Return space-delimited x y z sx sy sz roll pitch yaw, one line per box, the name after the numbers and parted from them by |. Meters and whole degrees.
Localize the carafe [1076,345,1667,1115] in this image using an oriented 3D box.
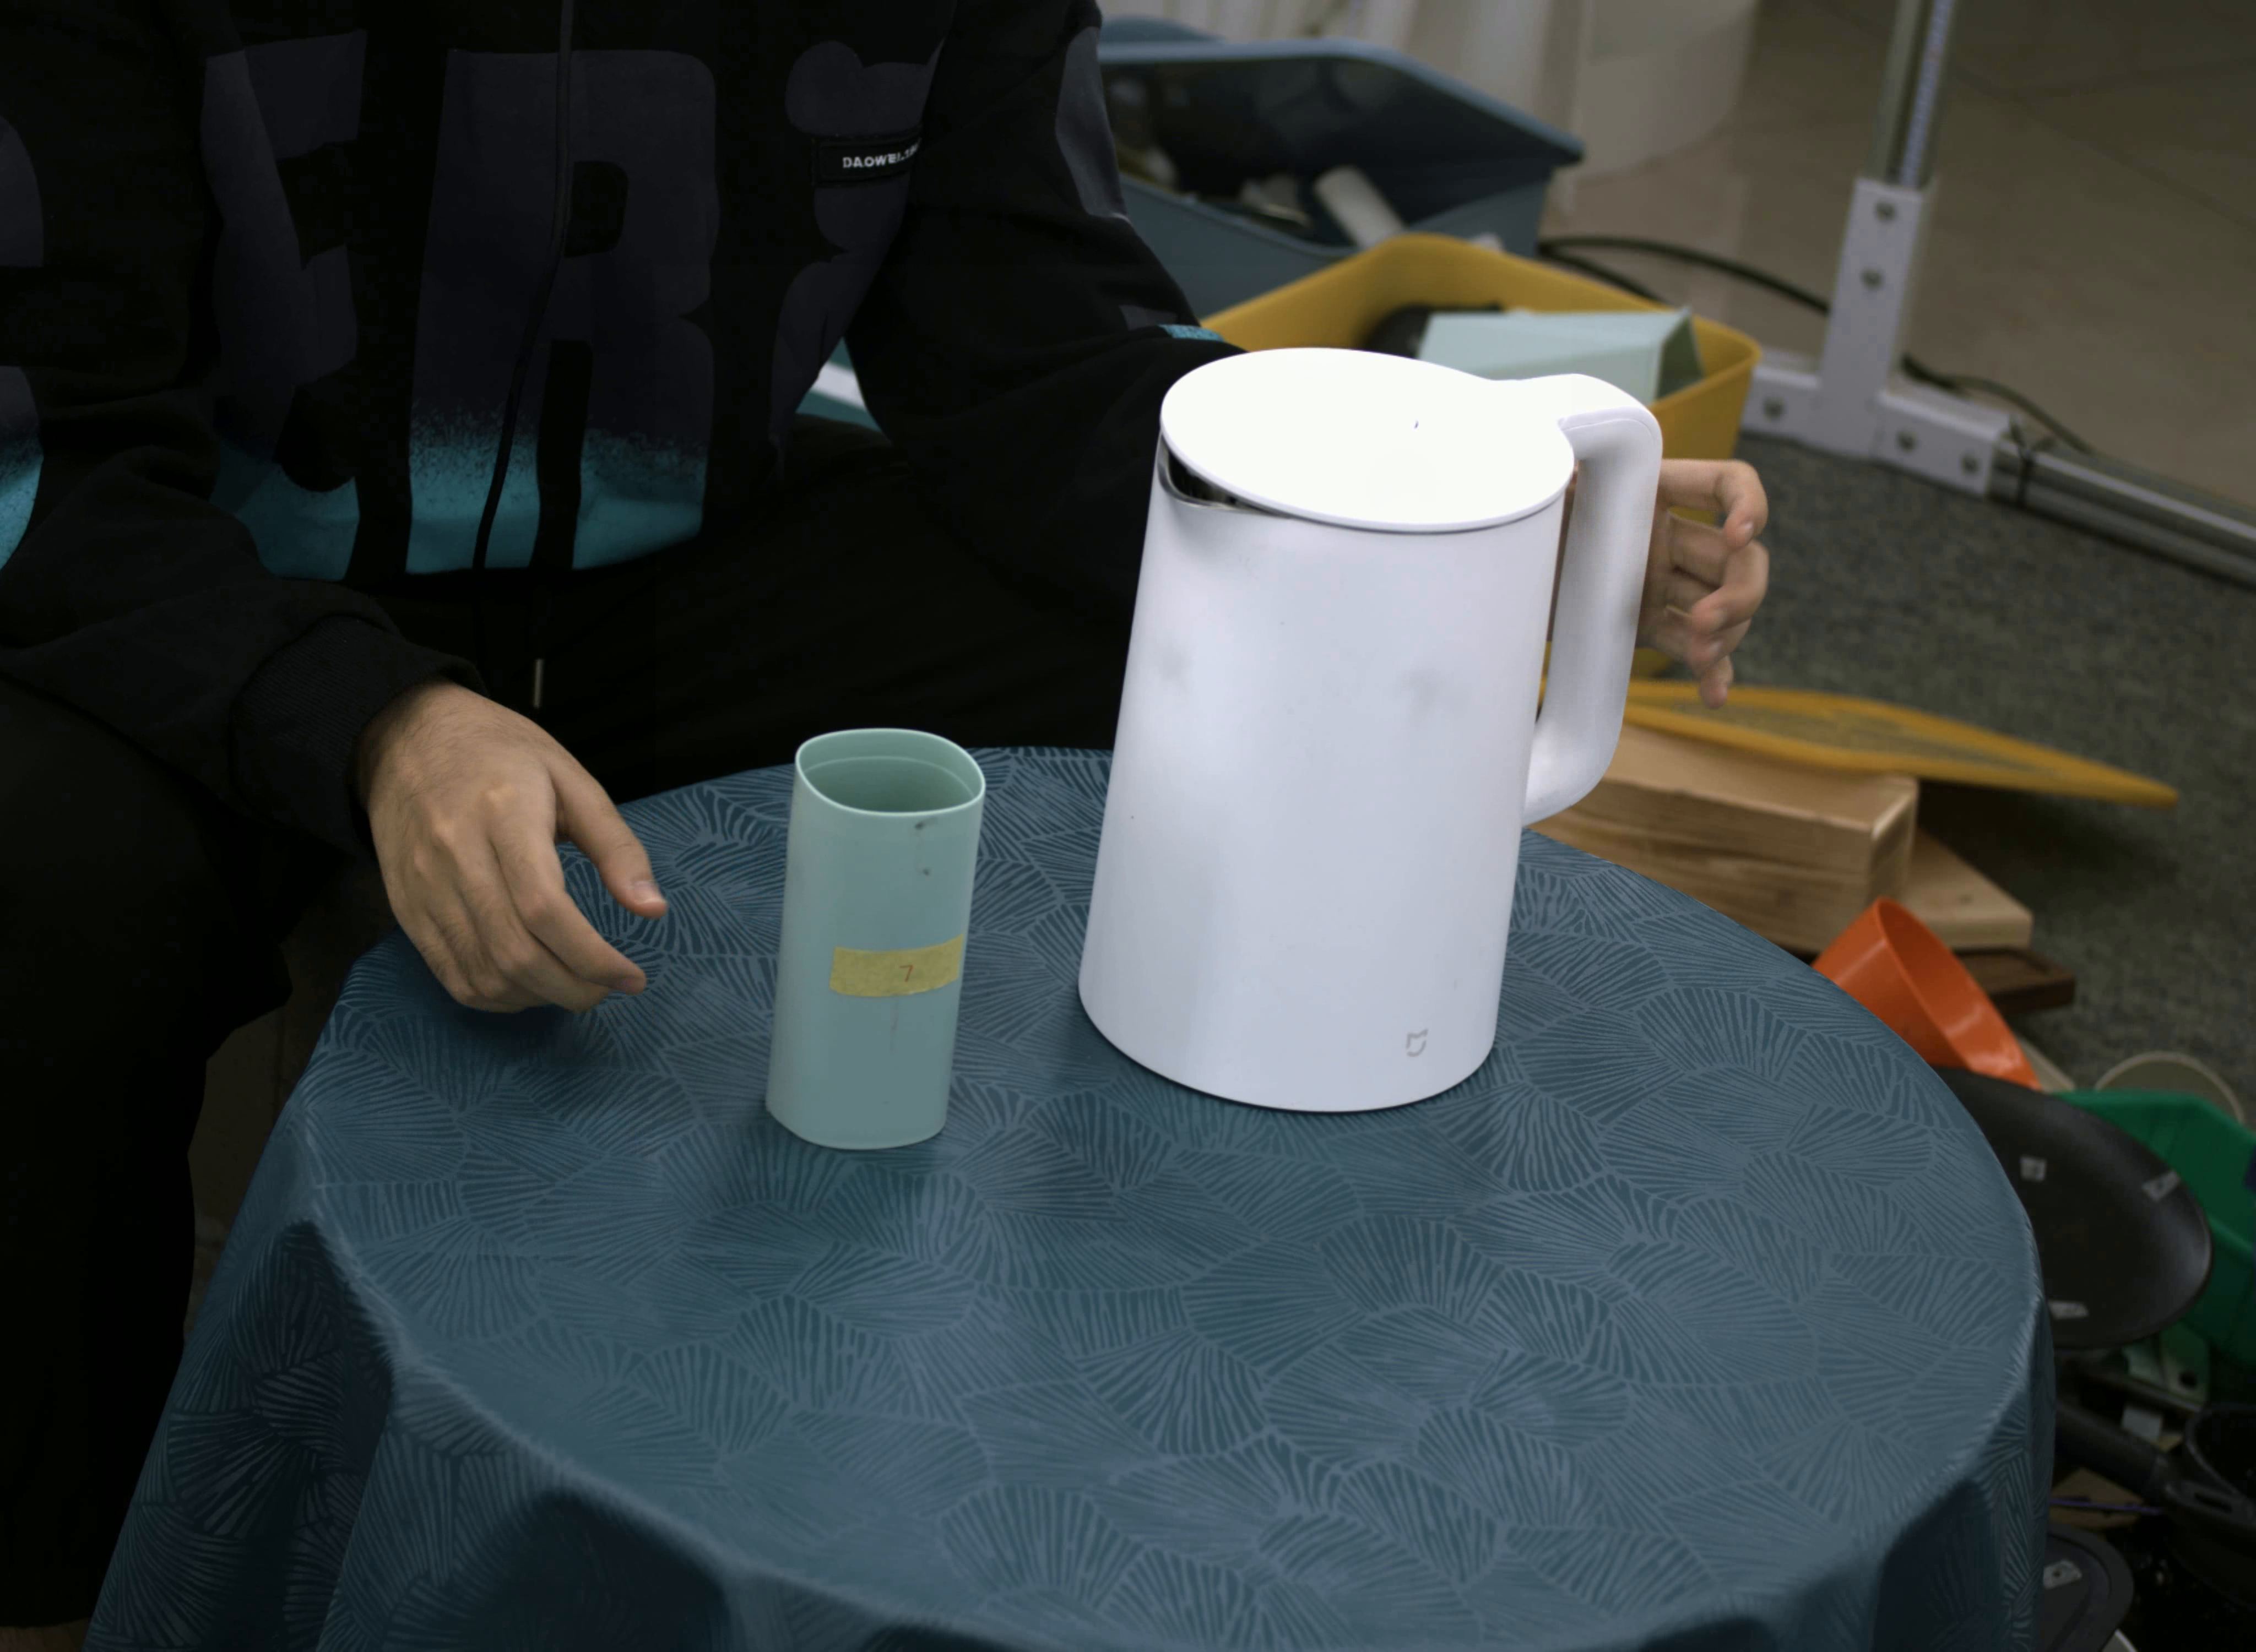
0.091 -0.039 1.884 0.212 0.239 0.153 -13 34 -33 | carafe

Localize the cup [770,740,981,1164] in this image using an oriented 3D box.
-0.087 0.042 1.803 0.066 0.132 0.067 5 27 -3 | cup
